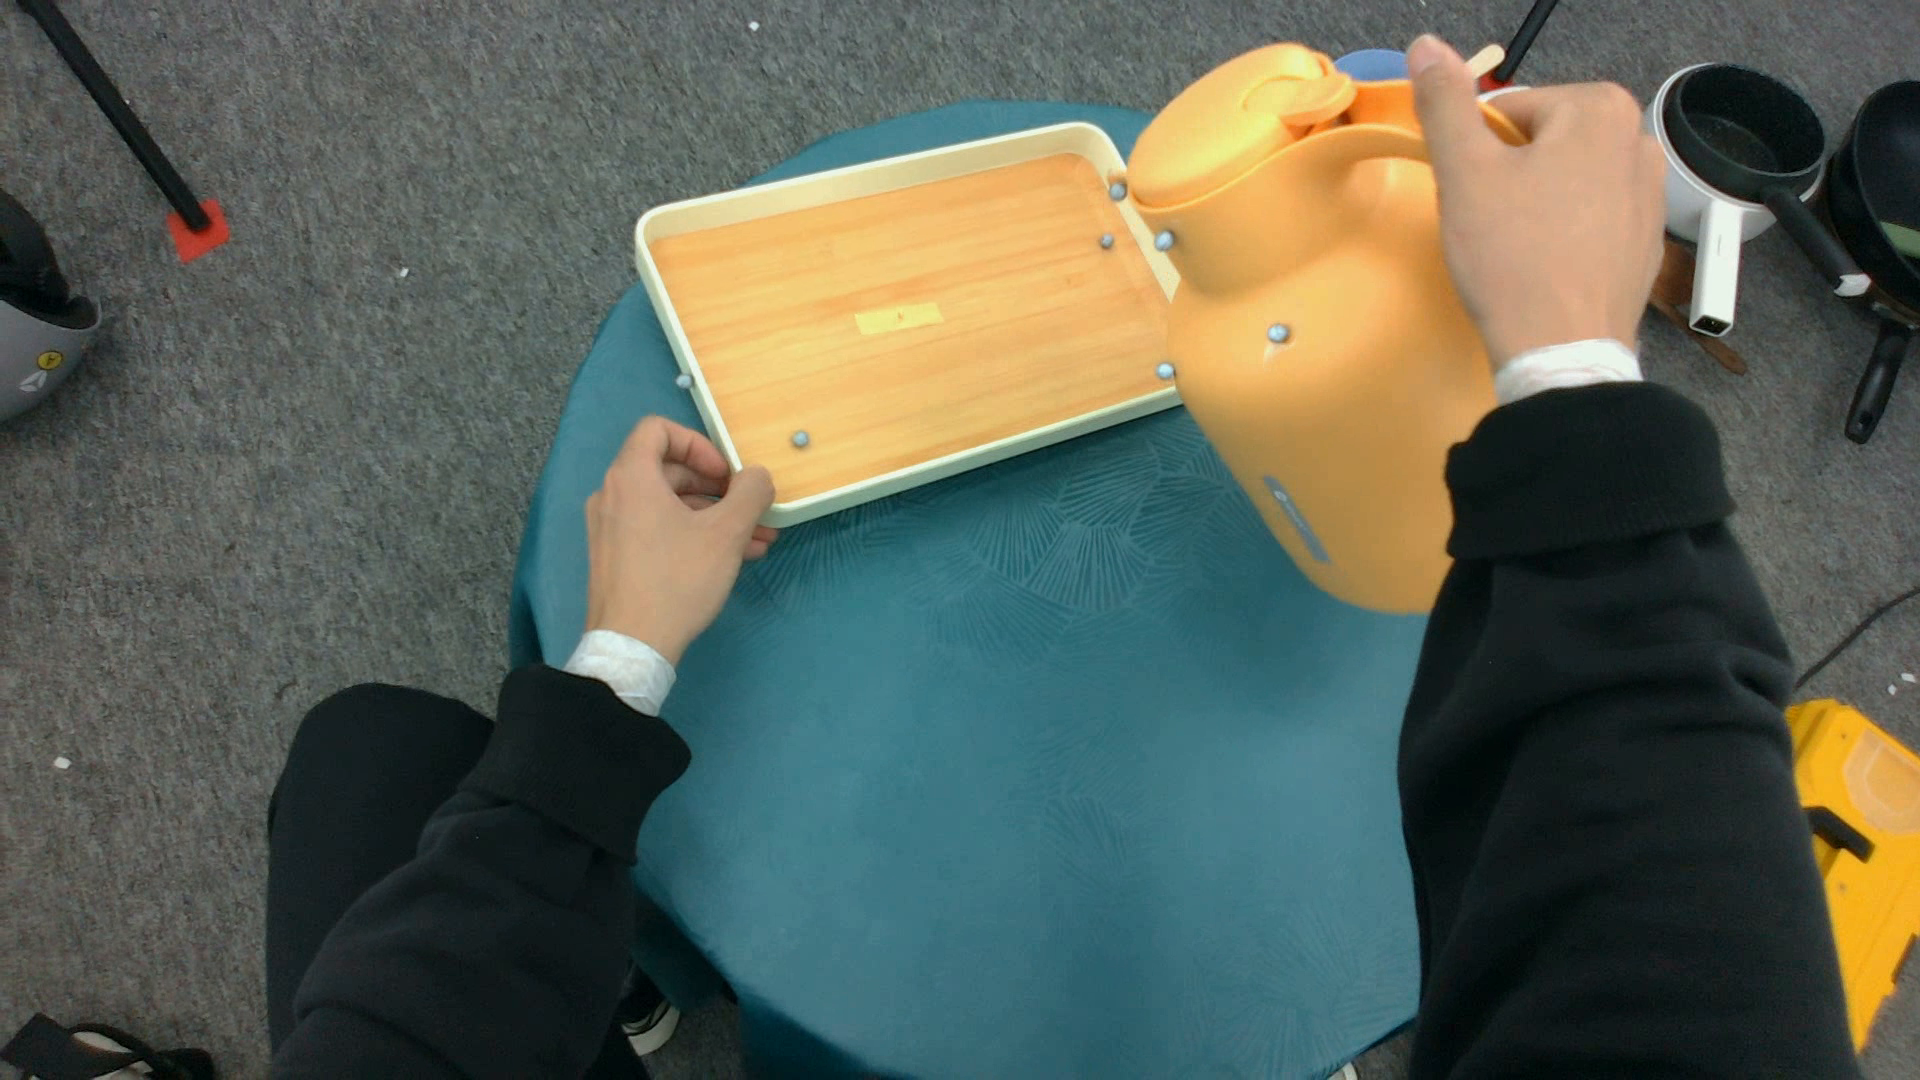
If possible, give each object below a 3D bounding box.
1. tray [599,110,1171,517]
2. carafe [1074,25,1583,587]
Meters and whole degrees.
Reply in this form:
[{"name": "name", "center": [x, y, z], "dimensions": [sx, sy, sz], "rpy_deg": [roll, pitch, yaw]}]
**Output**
[{"name": "tray", "center": [-0.029, -0.137, 0.772], "dimensions": [0.301, 0.027, 0.192], "rpy_deg": [-19, 72, -24]}, {"name": "carafe", "center": [0.174, -0.103, 0.614], "dimensions": [0.260, 0.202, 0.164], "rpy_deg": [45, 73, -31]}]
